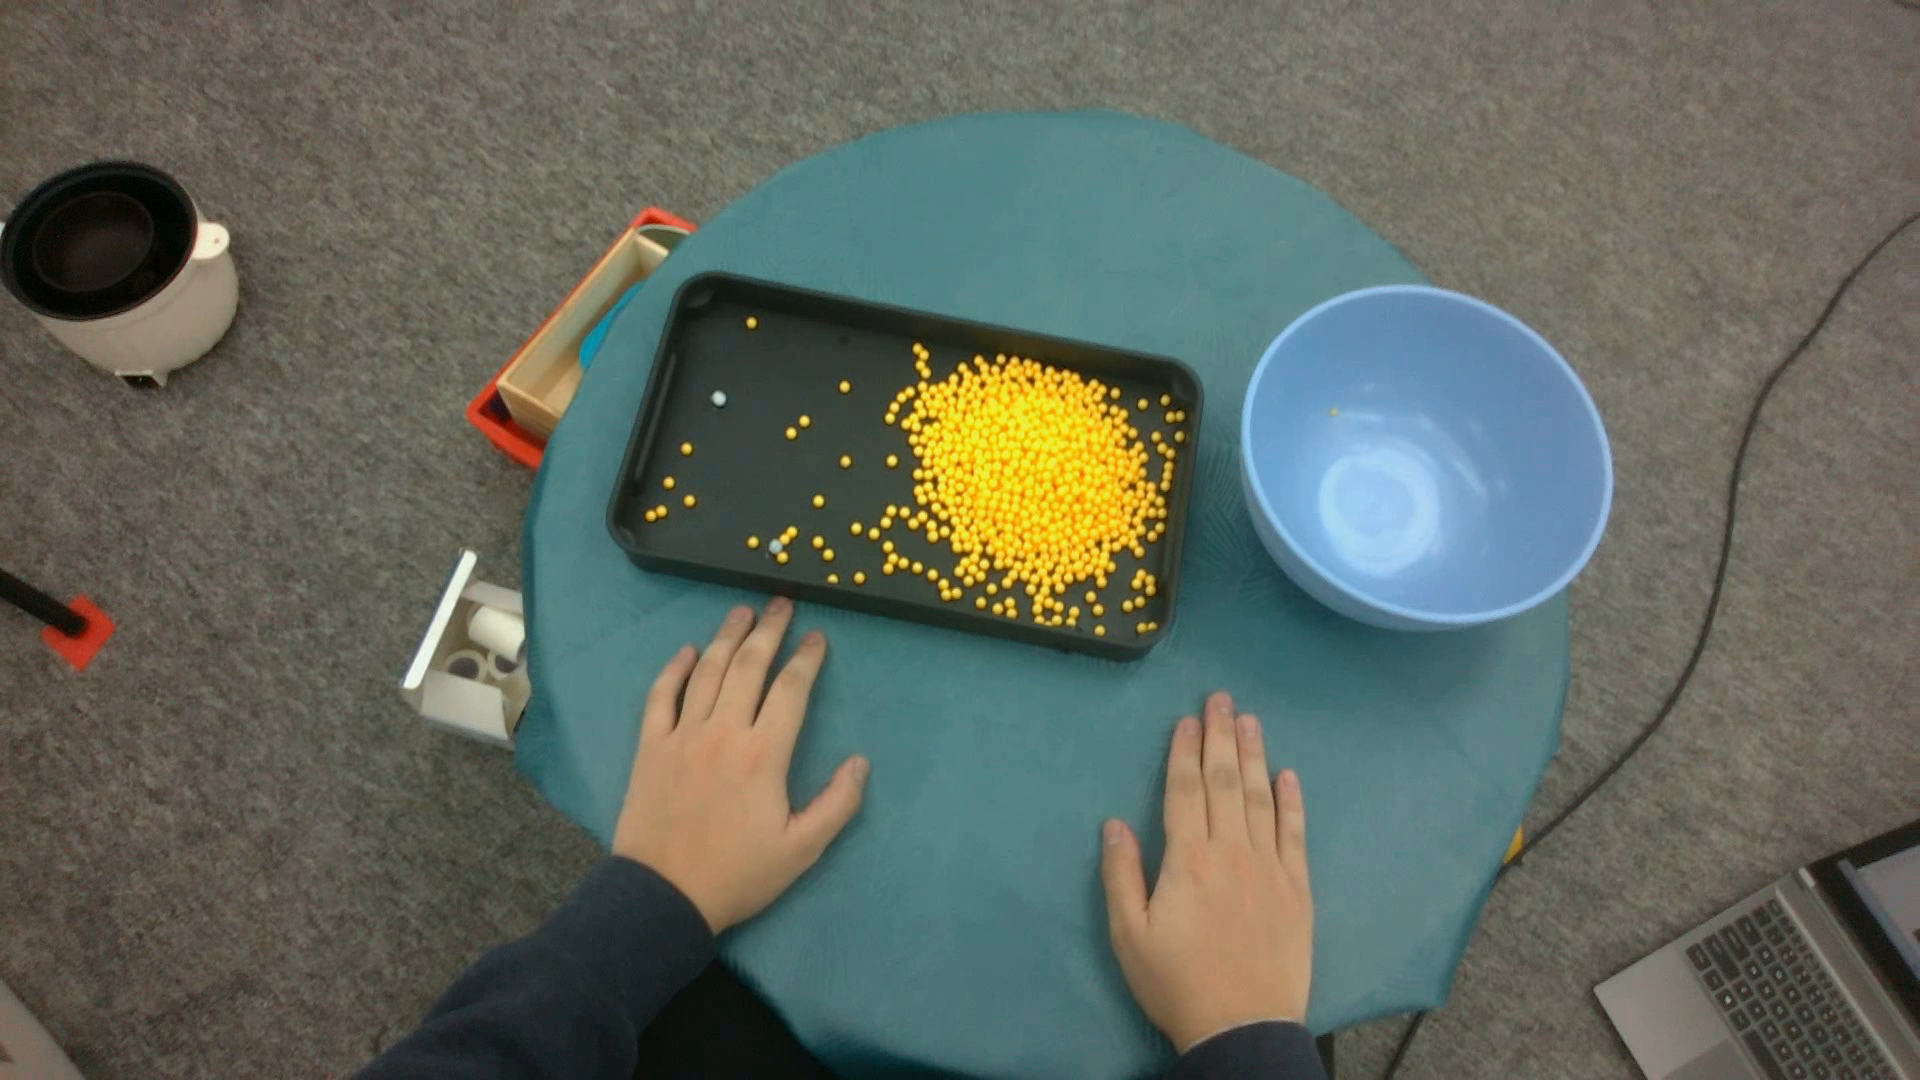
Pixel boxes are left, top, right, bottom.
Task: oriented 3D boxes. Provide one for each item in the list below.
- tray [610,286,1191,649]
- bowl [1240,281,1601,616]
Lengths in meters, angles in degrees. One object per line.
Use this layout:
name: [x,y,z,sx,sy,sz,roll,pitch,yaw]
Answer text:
tray: [-0.029,-0.044,0.808,0.318,0.037,0.185,8,67,0]
bowl: [0.246,-0.038,0.783,0.196,0.095,0.197,1,66,-3]
